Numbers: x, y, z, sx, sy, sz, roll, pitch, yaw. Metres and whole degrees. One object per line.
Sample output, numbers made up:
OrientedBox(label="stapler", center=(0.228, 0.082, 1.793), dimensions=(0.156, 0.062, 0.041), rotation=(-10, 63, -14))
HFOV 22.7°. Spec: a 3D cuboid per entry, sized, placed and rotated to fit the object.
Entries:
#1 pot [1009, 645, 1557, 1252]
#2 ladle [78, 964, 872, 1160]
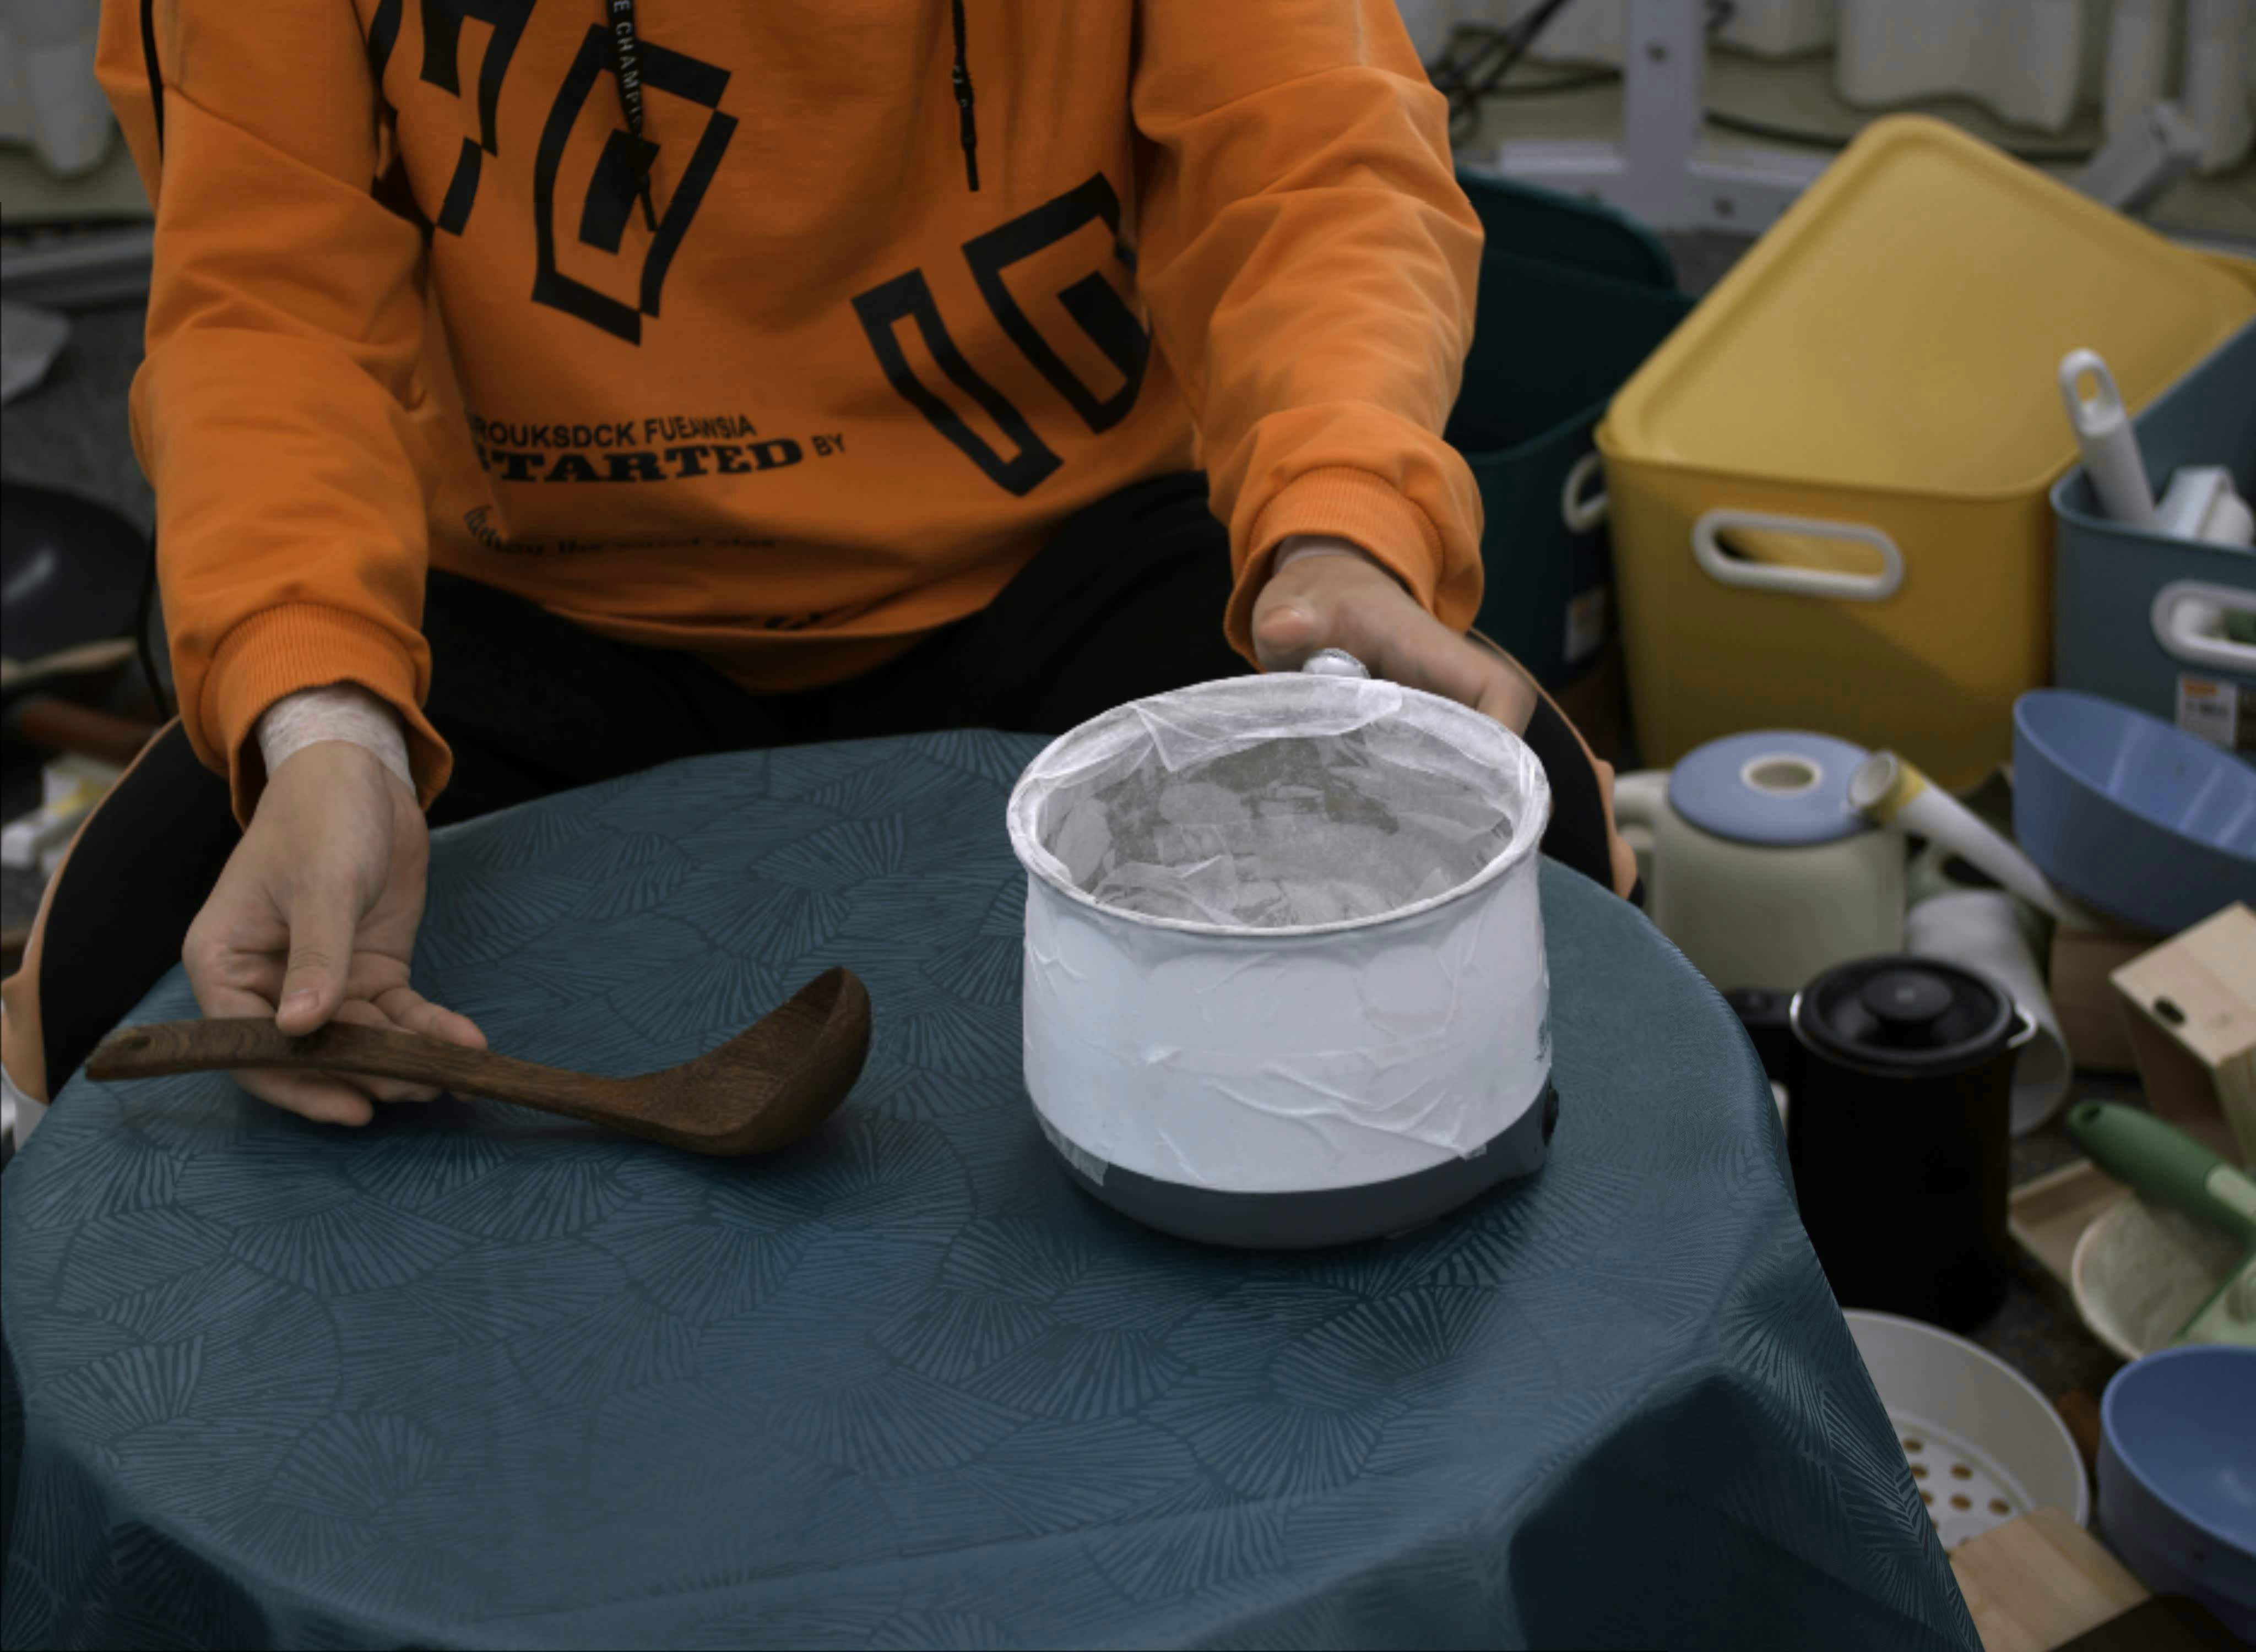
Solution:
OrientedBox(label="pot", center=(0.057, 0.033, 1.879), dimensions=(0.177, 0.135, 0.238), rotation=(3, 28, 10))
OrientedBox(label="ladle", center=(-0.222, 0.068, 1.897), dimensions=(0.272, 0.070, 0.077), rotation=(7, 27, 6))
